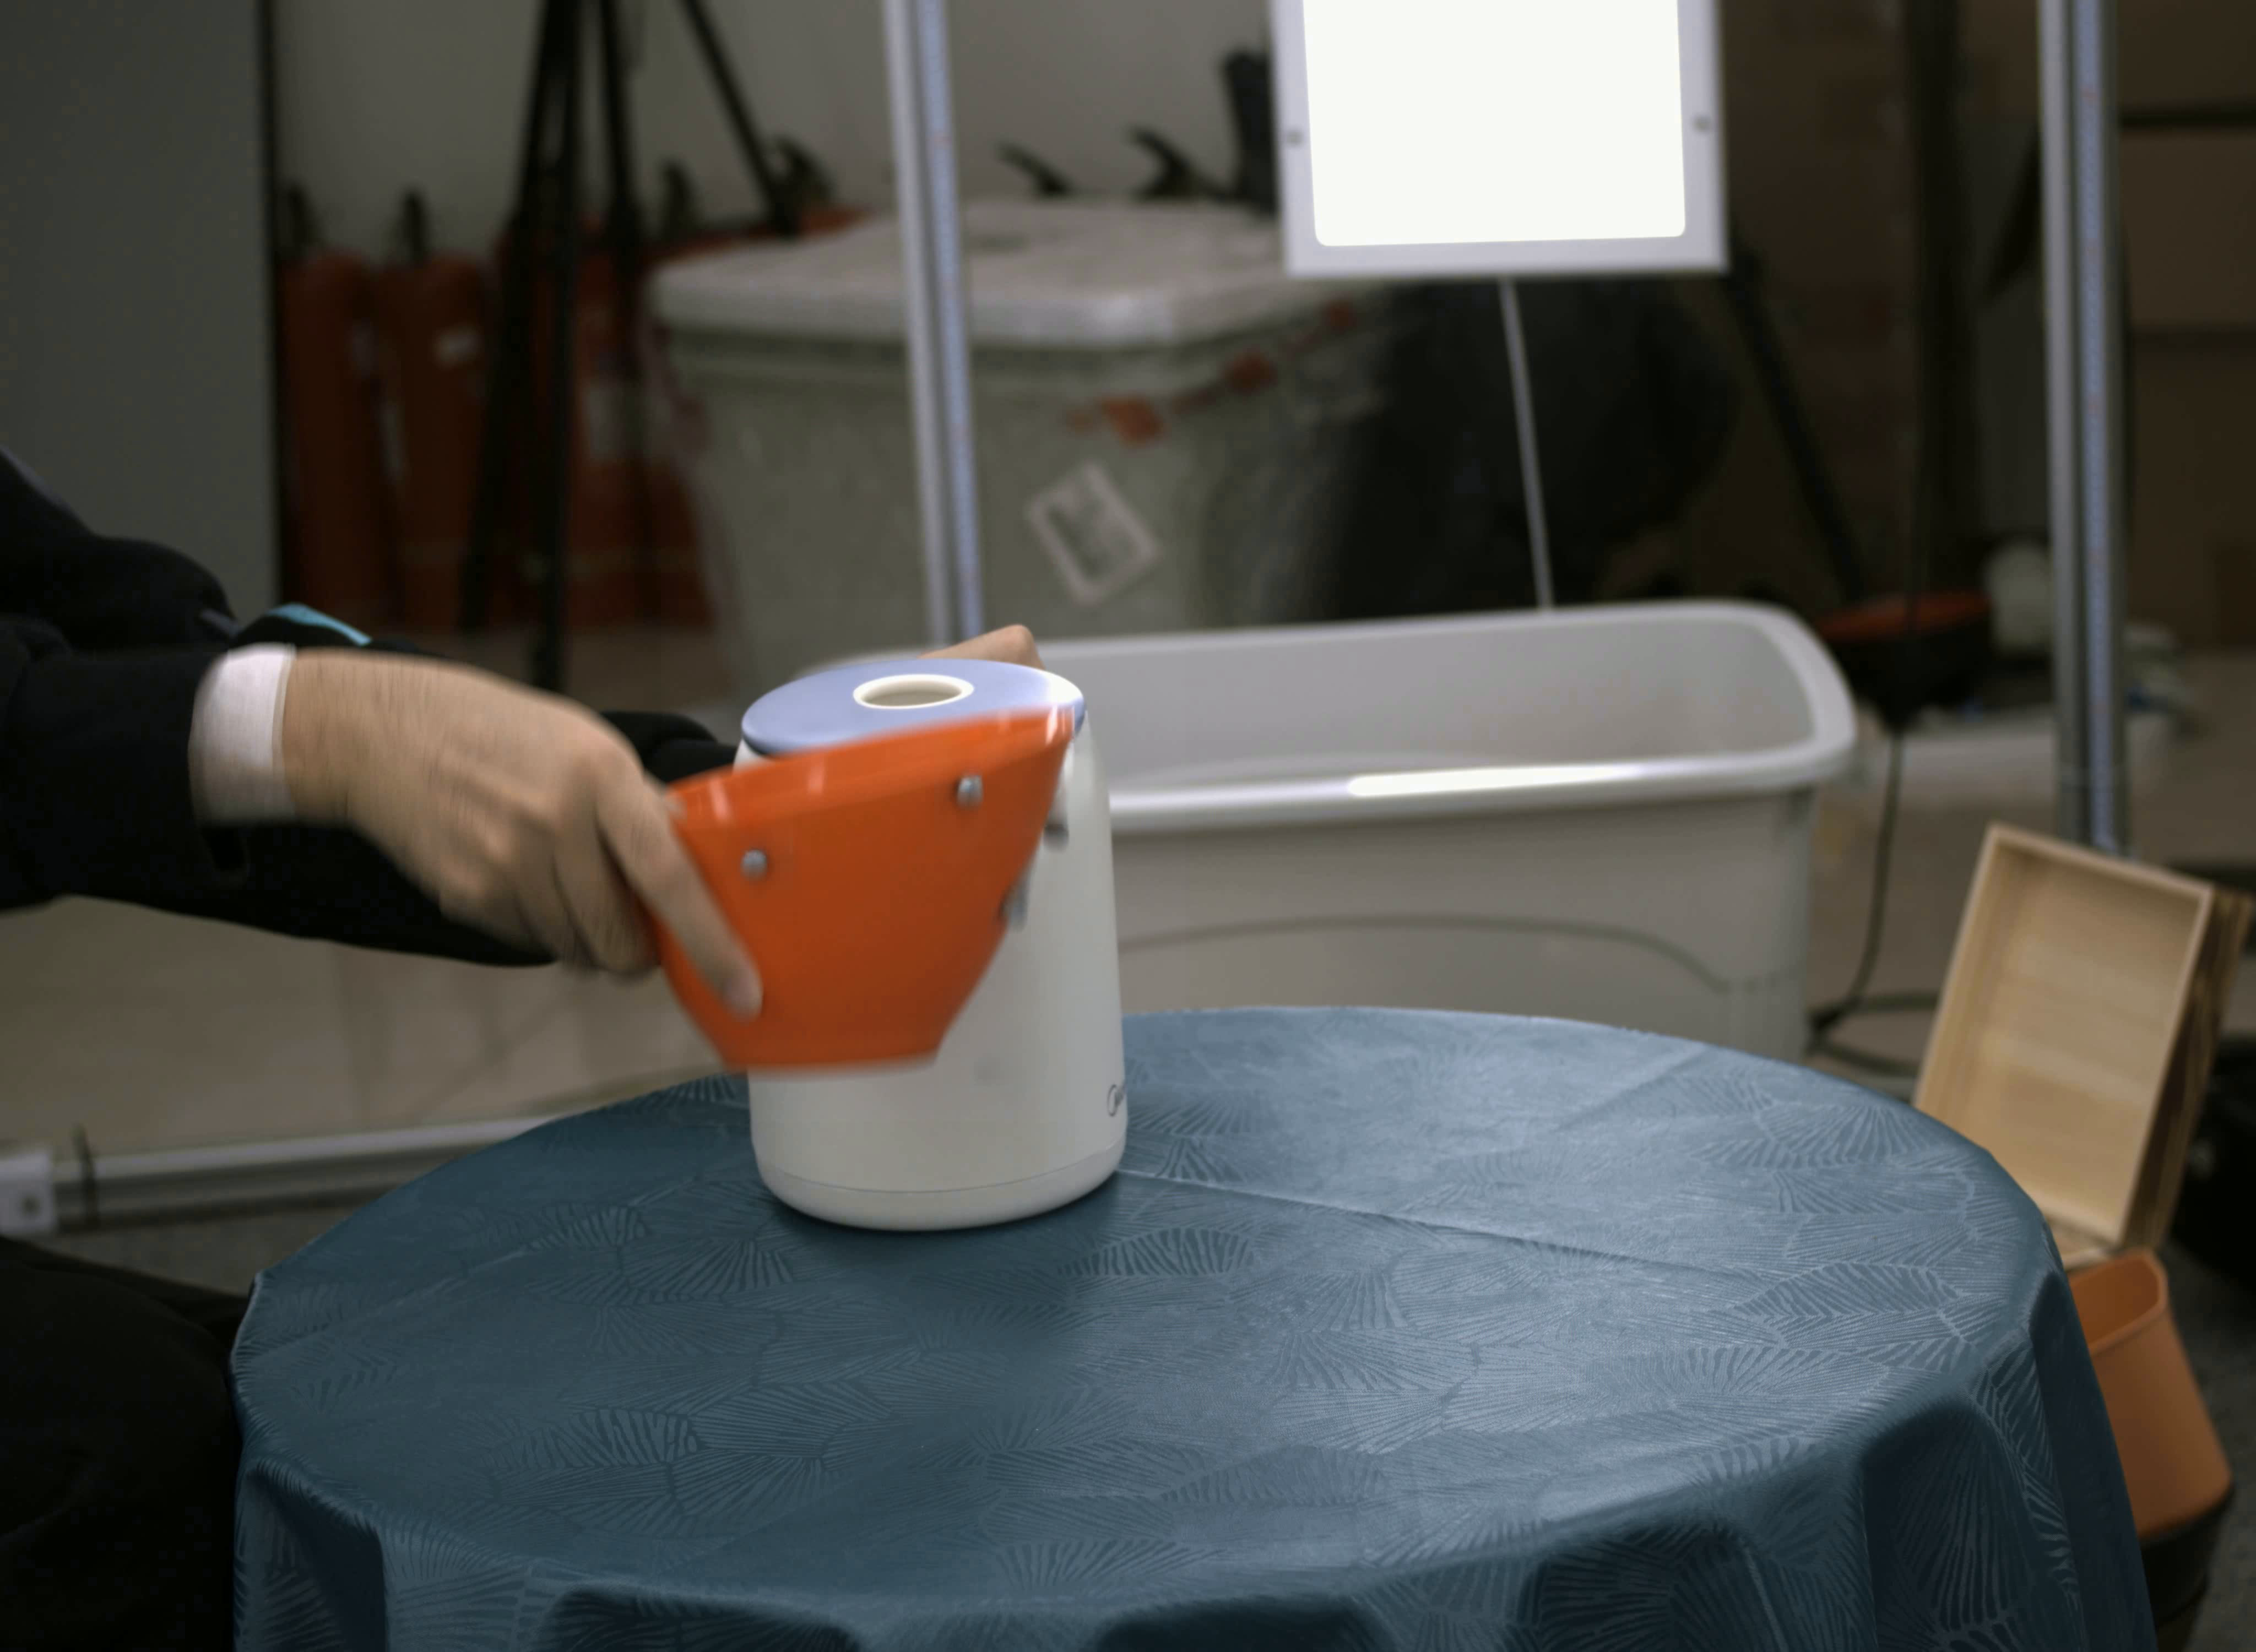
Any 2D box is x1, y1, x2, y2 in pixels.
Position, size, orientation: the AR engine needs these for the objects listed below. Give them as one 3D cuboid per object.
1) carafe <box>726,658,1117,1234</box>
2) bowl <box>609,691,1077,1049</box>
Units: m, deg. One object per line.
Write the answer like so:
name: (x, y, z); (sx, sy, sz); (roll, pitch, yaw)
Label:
carafe: (-0.067, 0.034, 1.921); (0.133, 0.183, 0.189); (1, 15, 11)
bowl: (-0.085, 0.015, 1.709); (0.147, 0.105, 0.148); (-4, 1, -1)
